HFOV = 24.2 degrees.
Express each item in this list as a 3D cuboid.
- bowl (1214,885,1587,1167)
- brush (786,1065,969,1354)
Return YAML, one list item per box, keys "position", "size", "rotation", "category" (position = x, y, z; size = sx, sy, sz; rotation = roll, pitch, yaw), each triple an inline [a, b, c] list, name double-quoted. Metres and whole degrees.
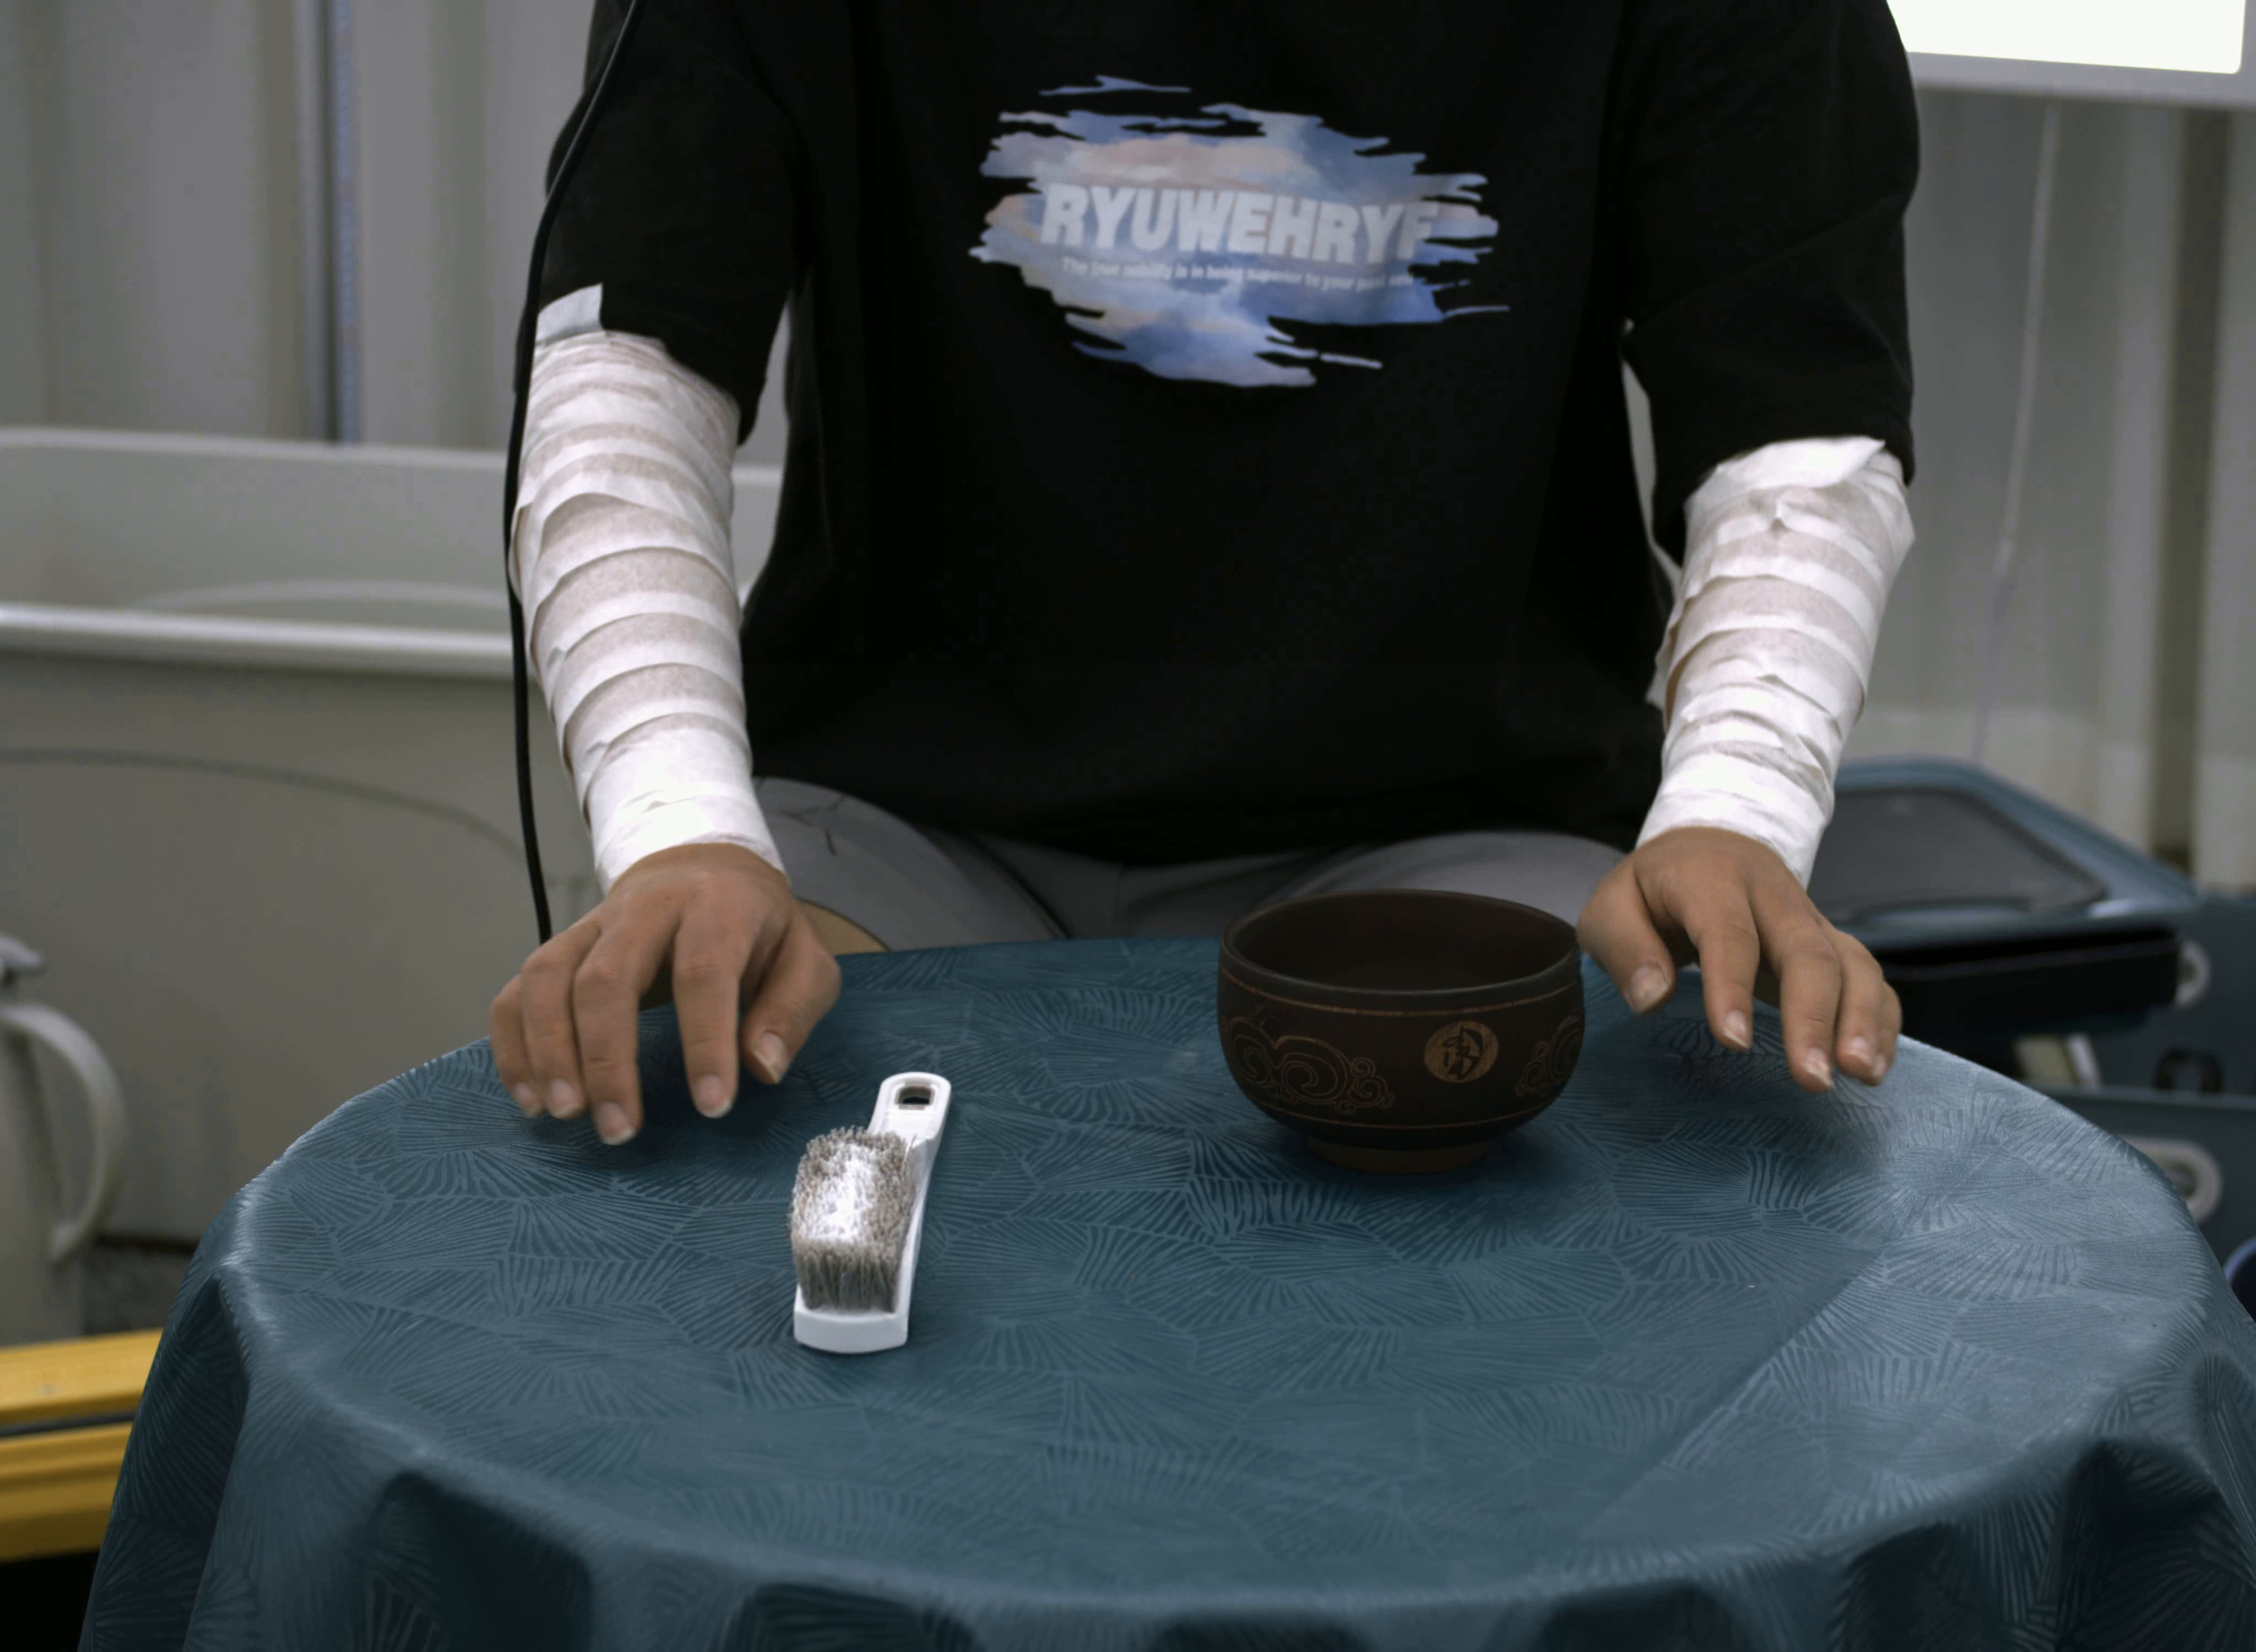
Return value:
- position: [0.085, 0.066, 1.657]
  size: [0.117, 0.070, 0.117]
  rotation: [0, 14, 0]
  category: "bowl"
- position: [-0.072, 0.095, 1.586]
  size: [0.034, 0.050, 0.242]
  rotation: [3, 16, 4]
  category: "brush"
